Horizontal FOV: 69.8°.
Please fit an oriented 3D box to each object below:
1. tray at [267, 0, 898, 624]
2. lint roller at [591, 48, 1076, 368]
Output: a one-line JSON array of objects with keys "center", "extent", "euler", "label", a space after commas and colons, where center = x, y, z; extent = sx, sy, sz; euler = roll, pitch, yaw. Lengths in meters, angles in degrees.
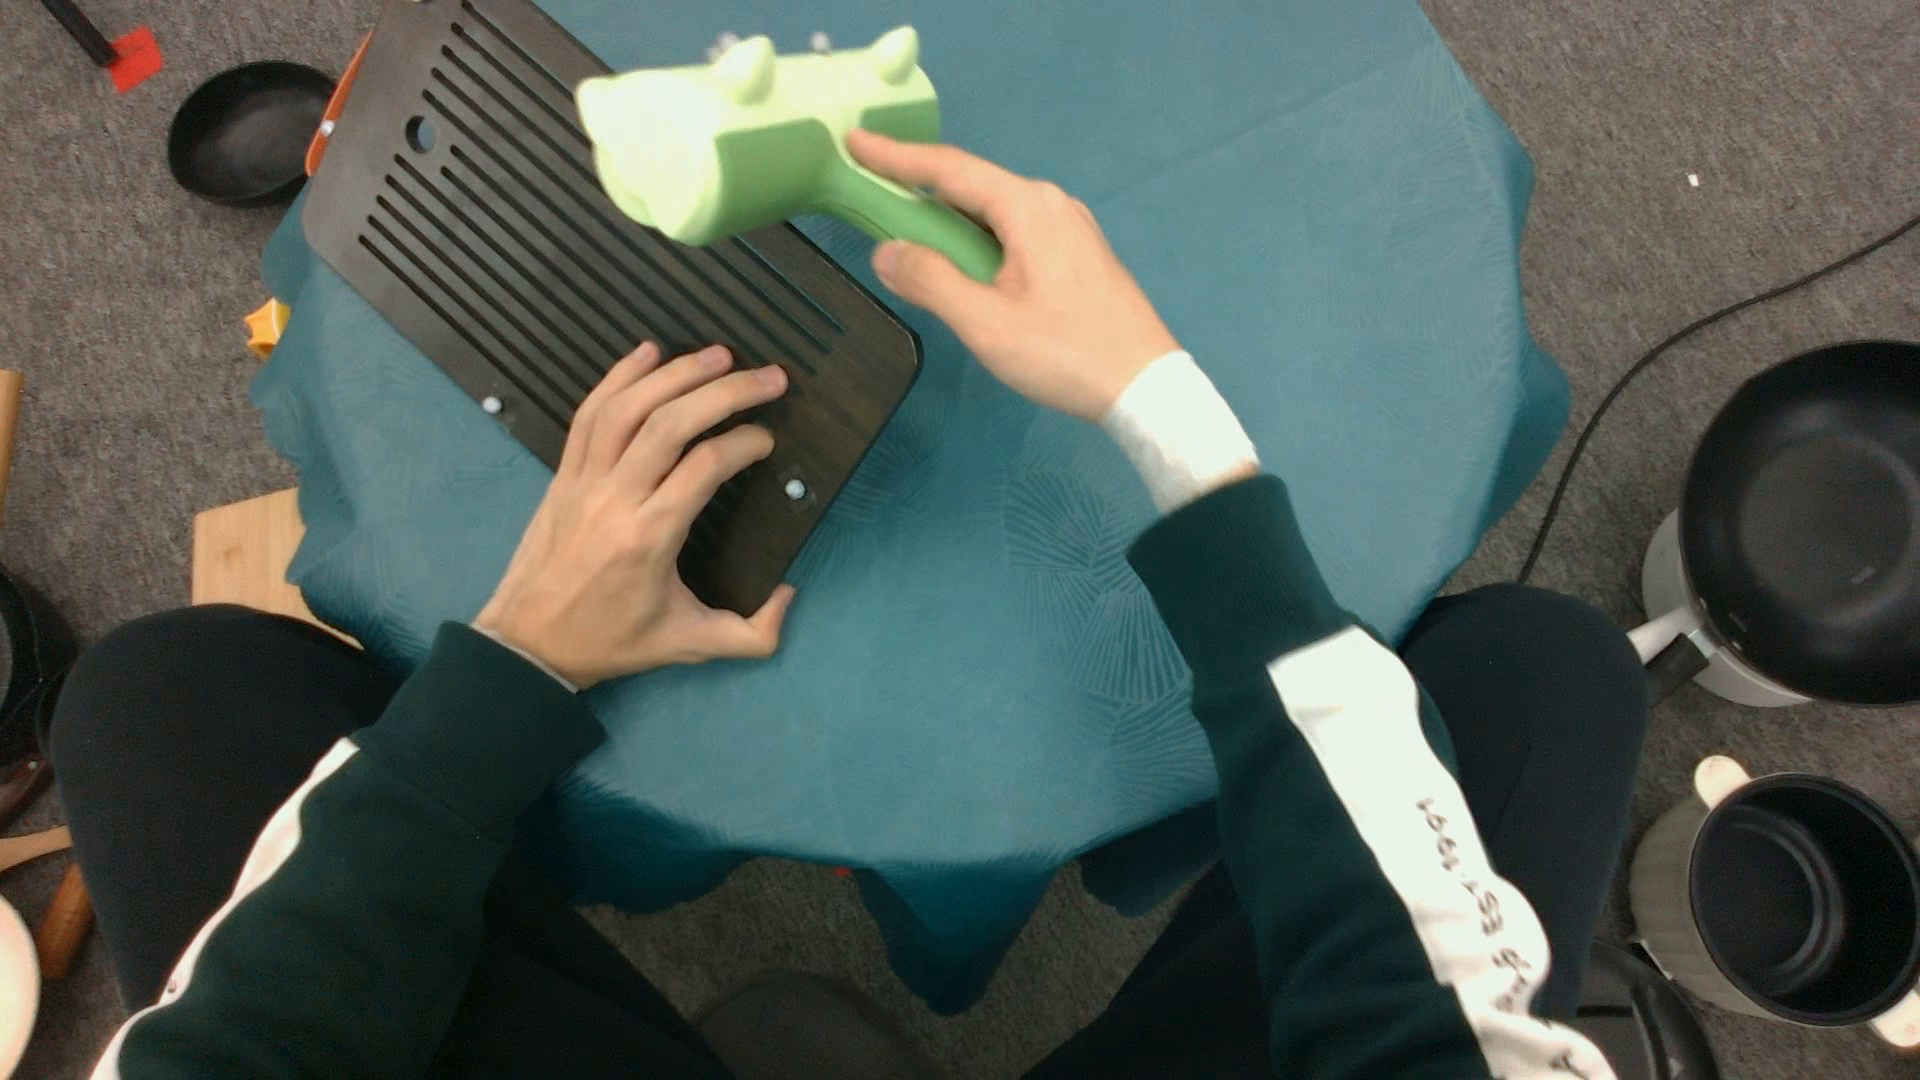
[{"center": [-0.180, -0.115, 0.624], "extent": [0.306, 0.019, 0.169], "euler": [40, 114, 8], "label": "tray"}, {"center": [-0.022, -0.143, 0.561], "extent": [0.183, 0.199, 0.082], "euler": [29, 118, 12], "label": "lint roller"}]
